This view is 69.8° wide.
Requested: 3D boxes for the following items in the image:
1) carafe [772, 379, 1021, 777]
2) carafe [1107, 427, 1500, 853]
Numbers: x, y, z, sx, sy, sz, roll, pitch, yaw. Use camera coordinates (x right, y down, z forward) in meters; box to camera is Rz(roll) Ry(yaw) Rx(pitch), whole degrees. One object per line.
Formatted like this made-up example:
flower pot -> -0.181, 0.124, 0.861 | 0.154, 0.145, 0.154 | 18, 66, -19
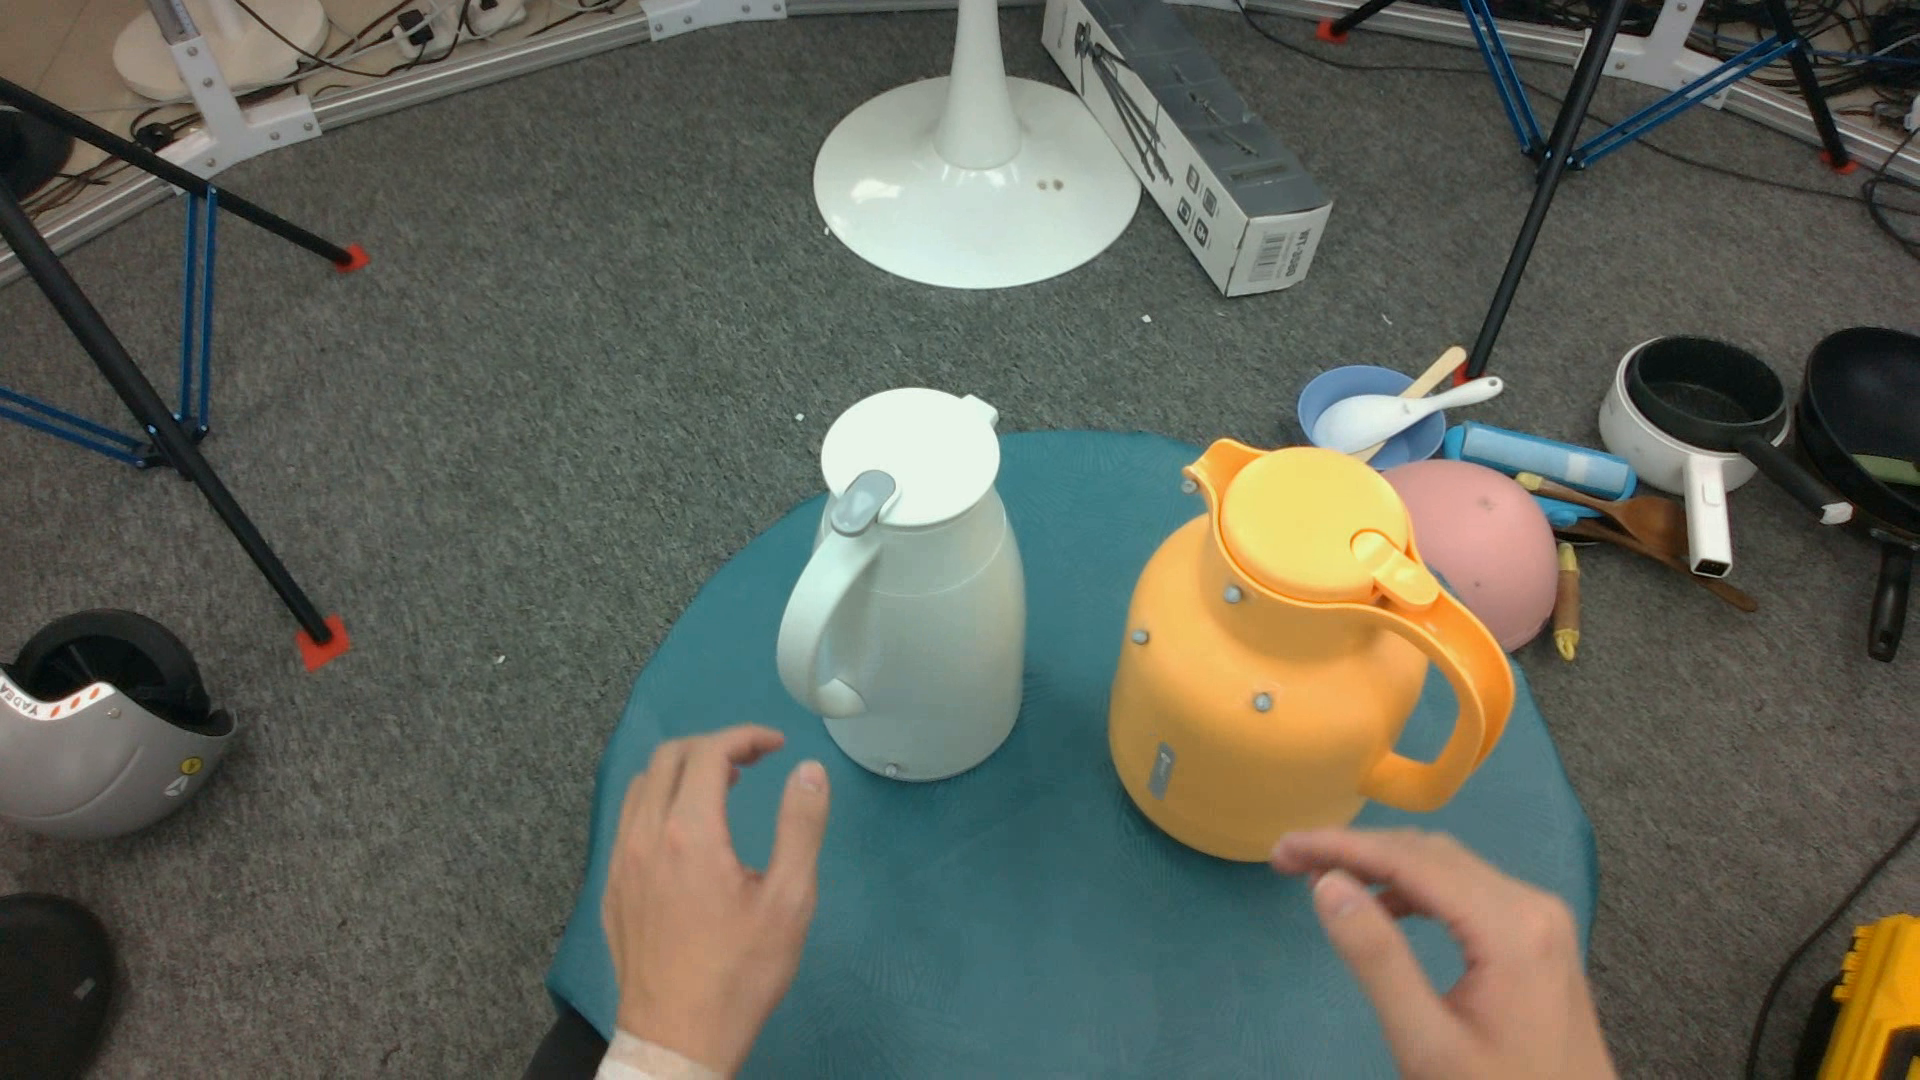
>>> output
carafe -> -0.039, 0.034, 0.782 | 0.132, 0.247, 0.168 | 30, 59, 20
carafe -> 0.181, 0.067, 0.752 | 0.164, 0.259, 0.202 | -38, 61, -22
